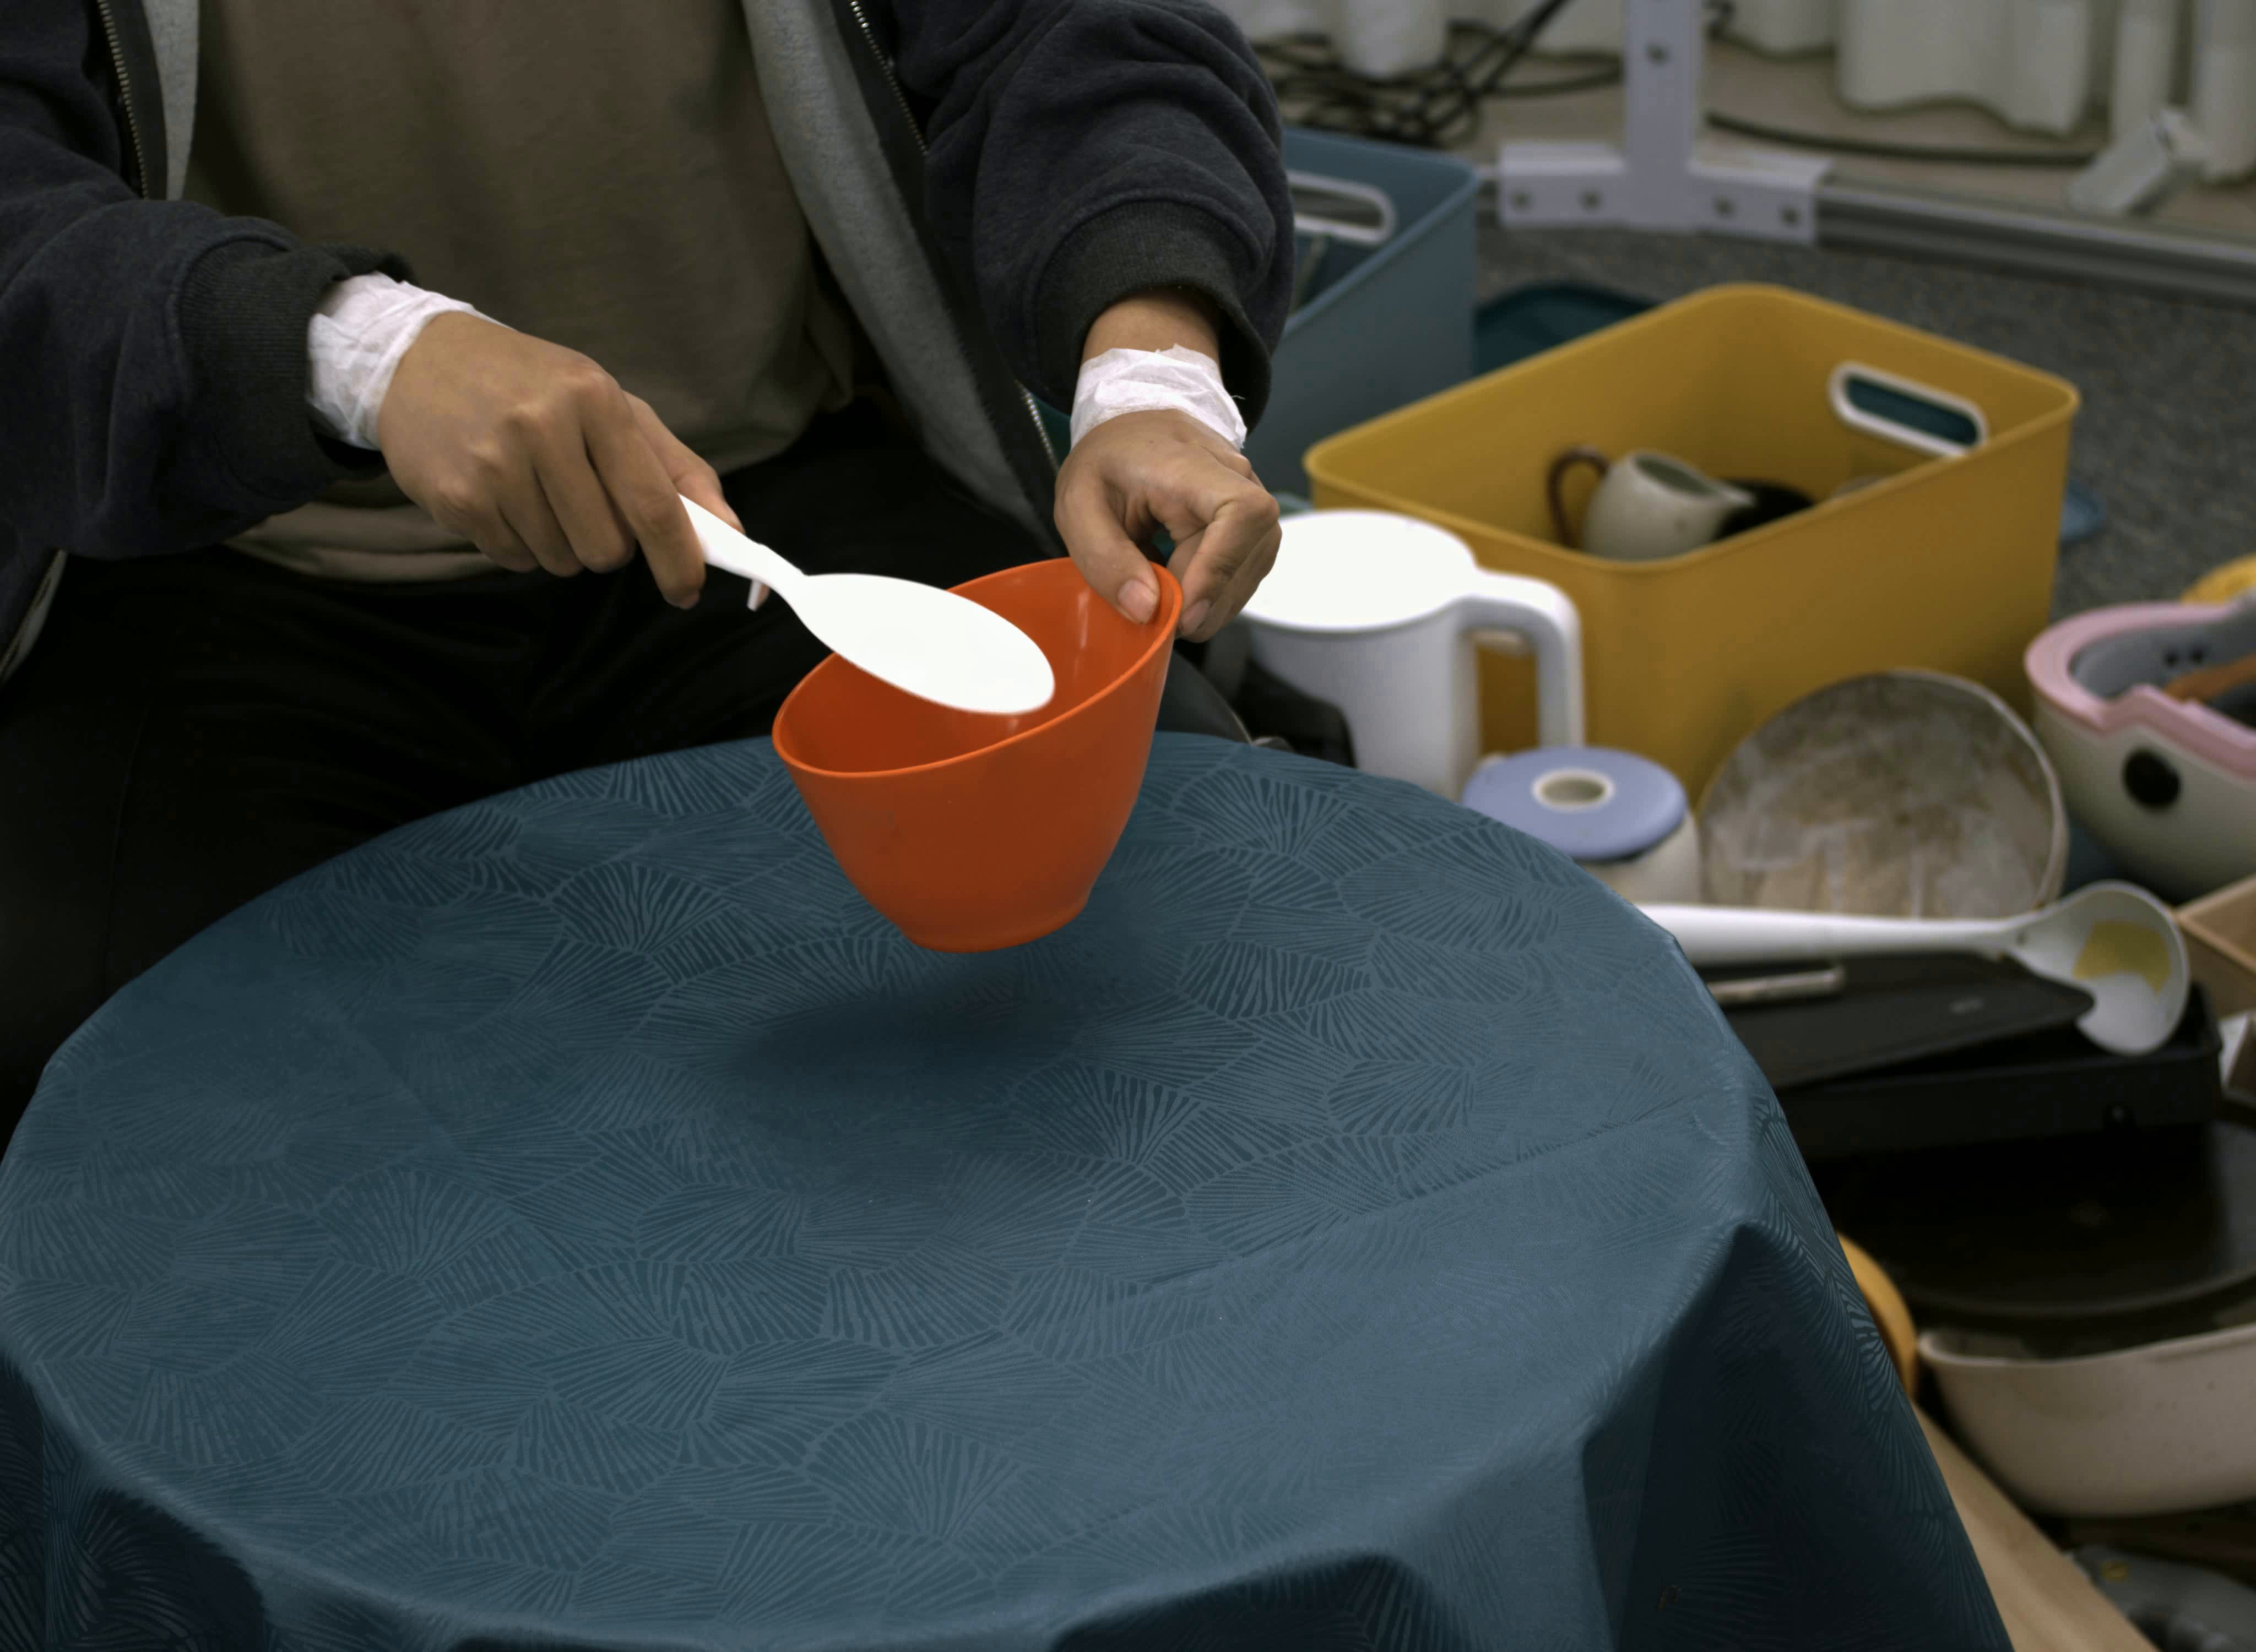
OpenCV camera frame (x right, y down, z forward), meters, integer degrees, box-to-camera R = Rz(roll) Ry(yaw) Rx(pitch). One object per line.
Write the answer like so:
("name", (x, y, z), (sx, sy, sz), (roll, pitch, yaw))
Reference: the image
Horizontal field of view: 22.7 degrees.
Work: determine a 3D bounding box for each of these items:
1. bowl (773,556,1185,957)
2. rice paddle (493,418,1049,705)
("bowl", (-0.044, -0.018, 1.931), (0.147, 0.104, 0.150), (-9, 24, 4))
("rice paddle", (-0.120, -0.089, 1.937), (0.204, 0.029, 0.070), (23, 33, 8))
